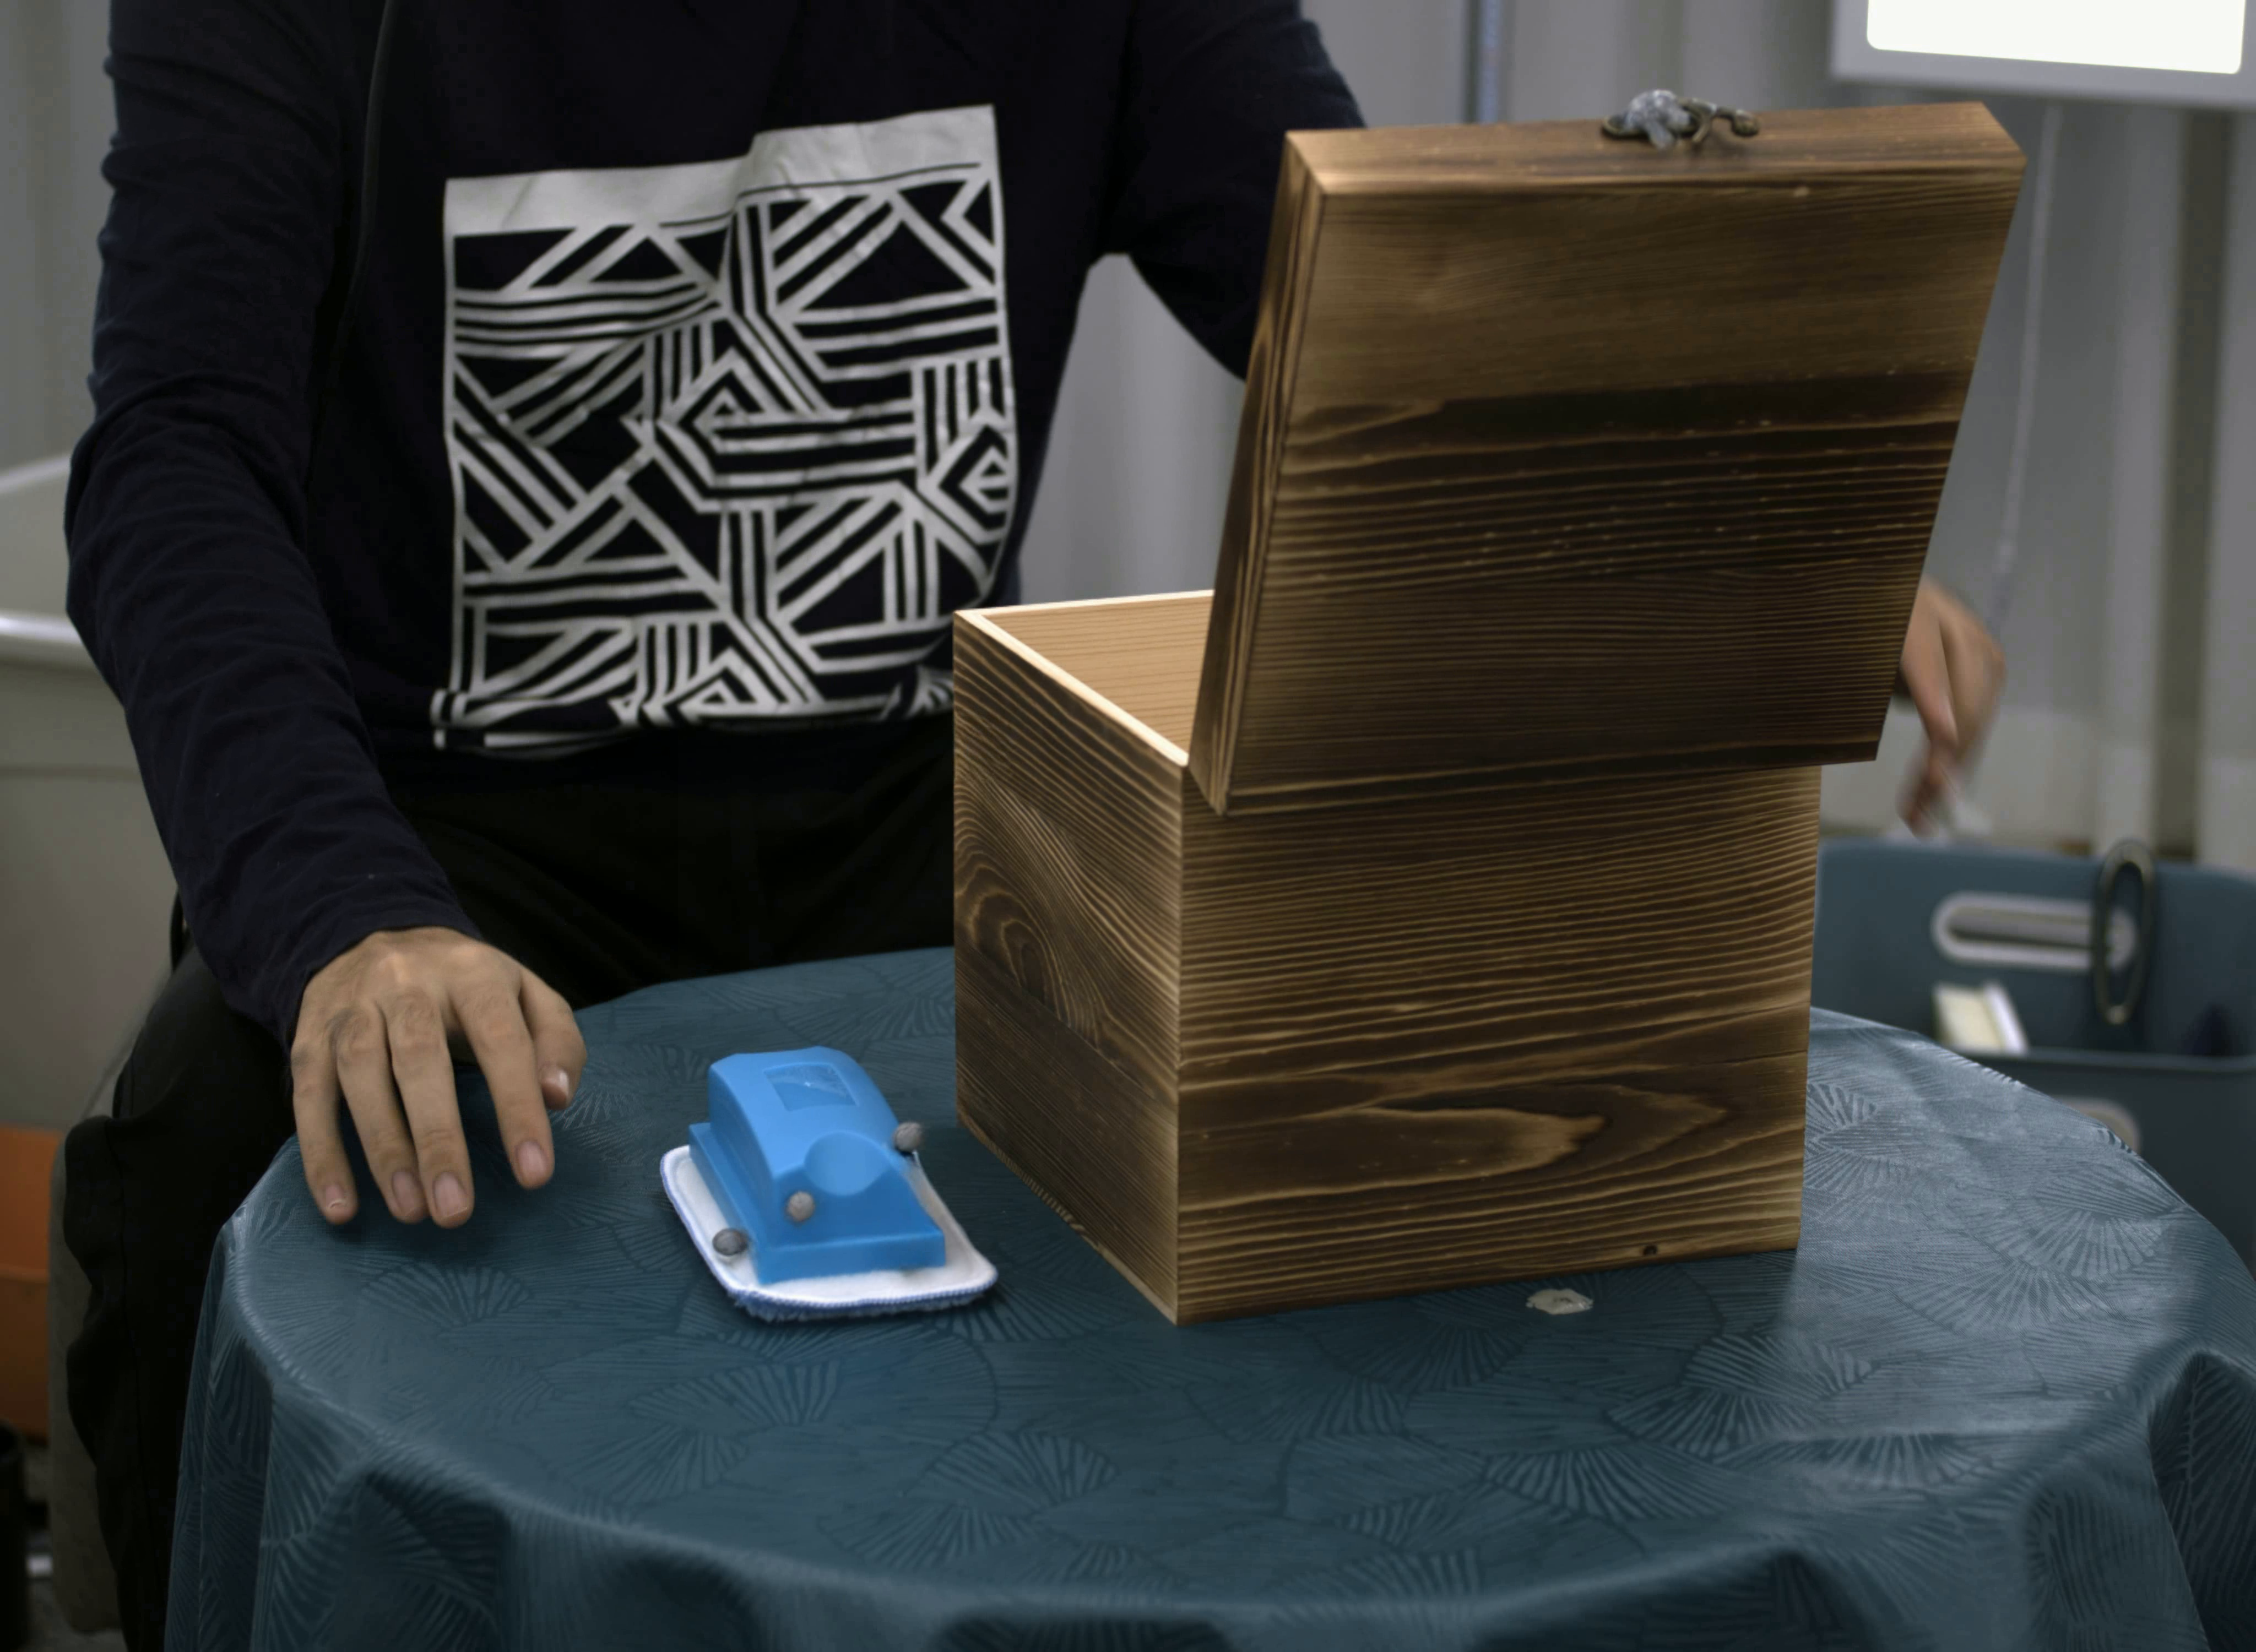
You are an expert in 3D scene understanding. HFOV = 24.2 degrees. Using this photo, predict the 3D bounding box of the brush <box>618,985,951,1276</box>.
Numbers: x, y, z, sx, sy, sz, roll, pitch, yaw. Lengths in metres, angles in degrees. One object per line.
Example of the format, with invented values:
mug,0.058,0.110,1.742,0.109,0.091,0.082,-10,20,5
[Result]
brush,-0.101,0.087,1.567,0.084,0.056,0.142,-1,20,-16

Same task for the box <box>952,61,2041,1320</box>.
box,0.094,-0.051,1.540,0.209,0.378,0.318,-5,17,-20
